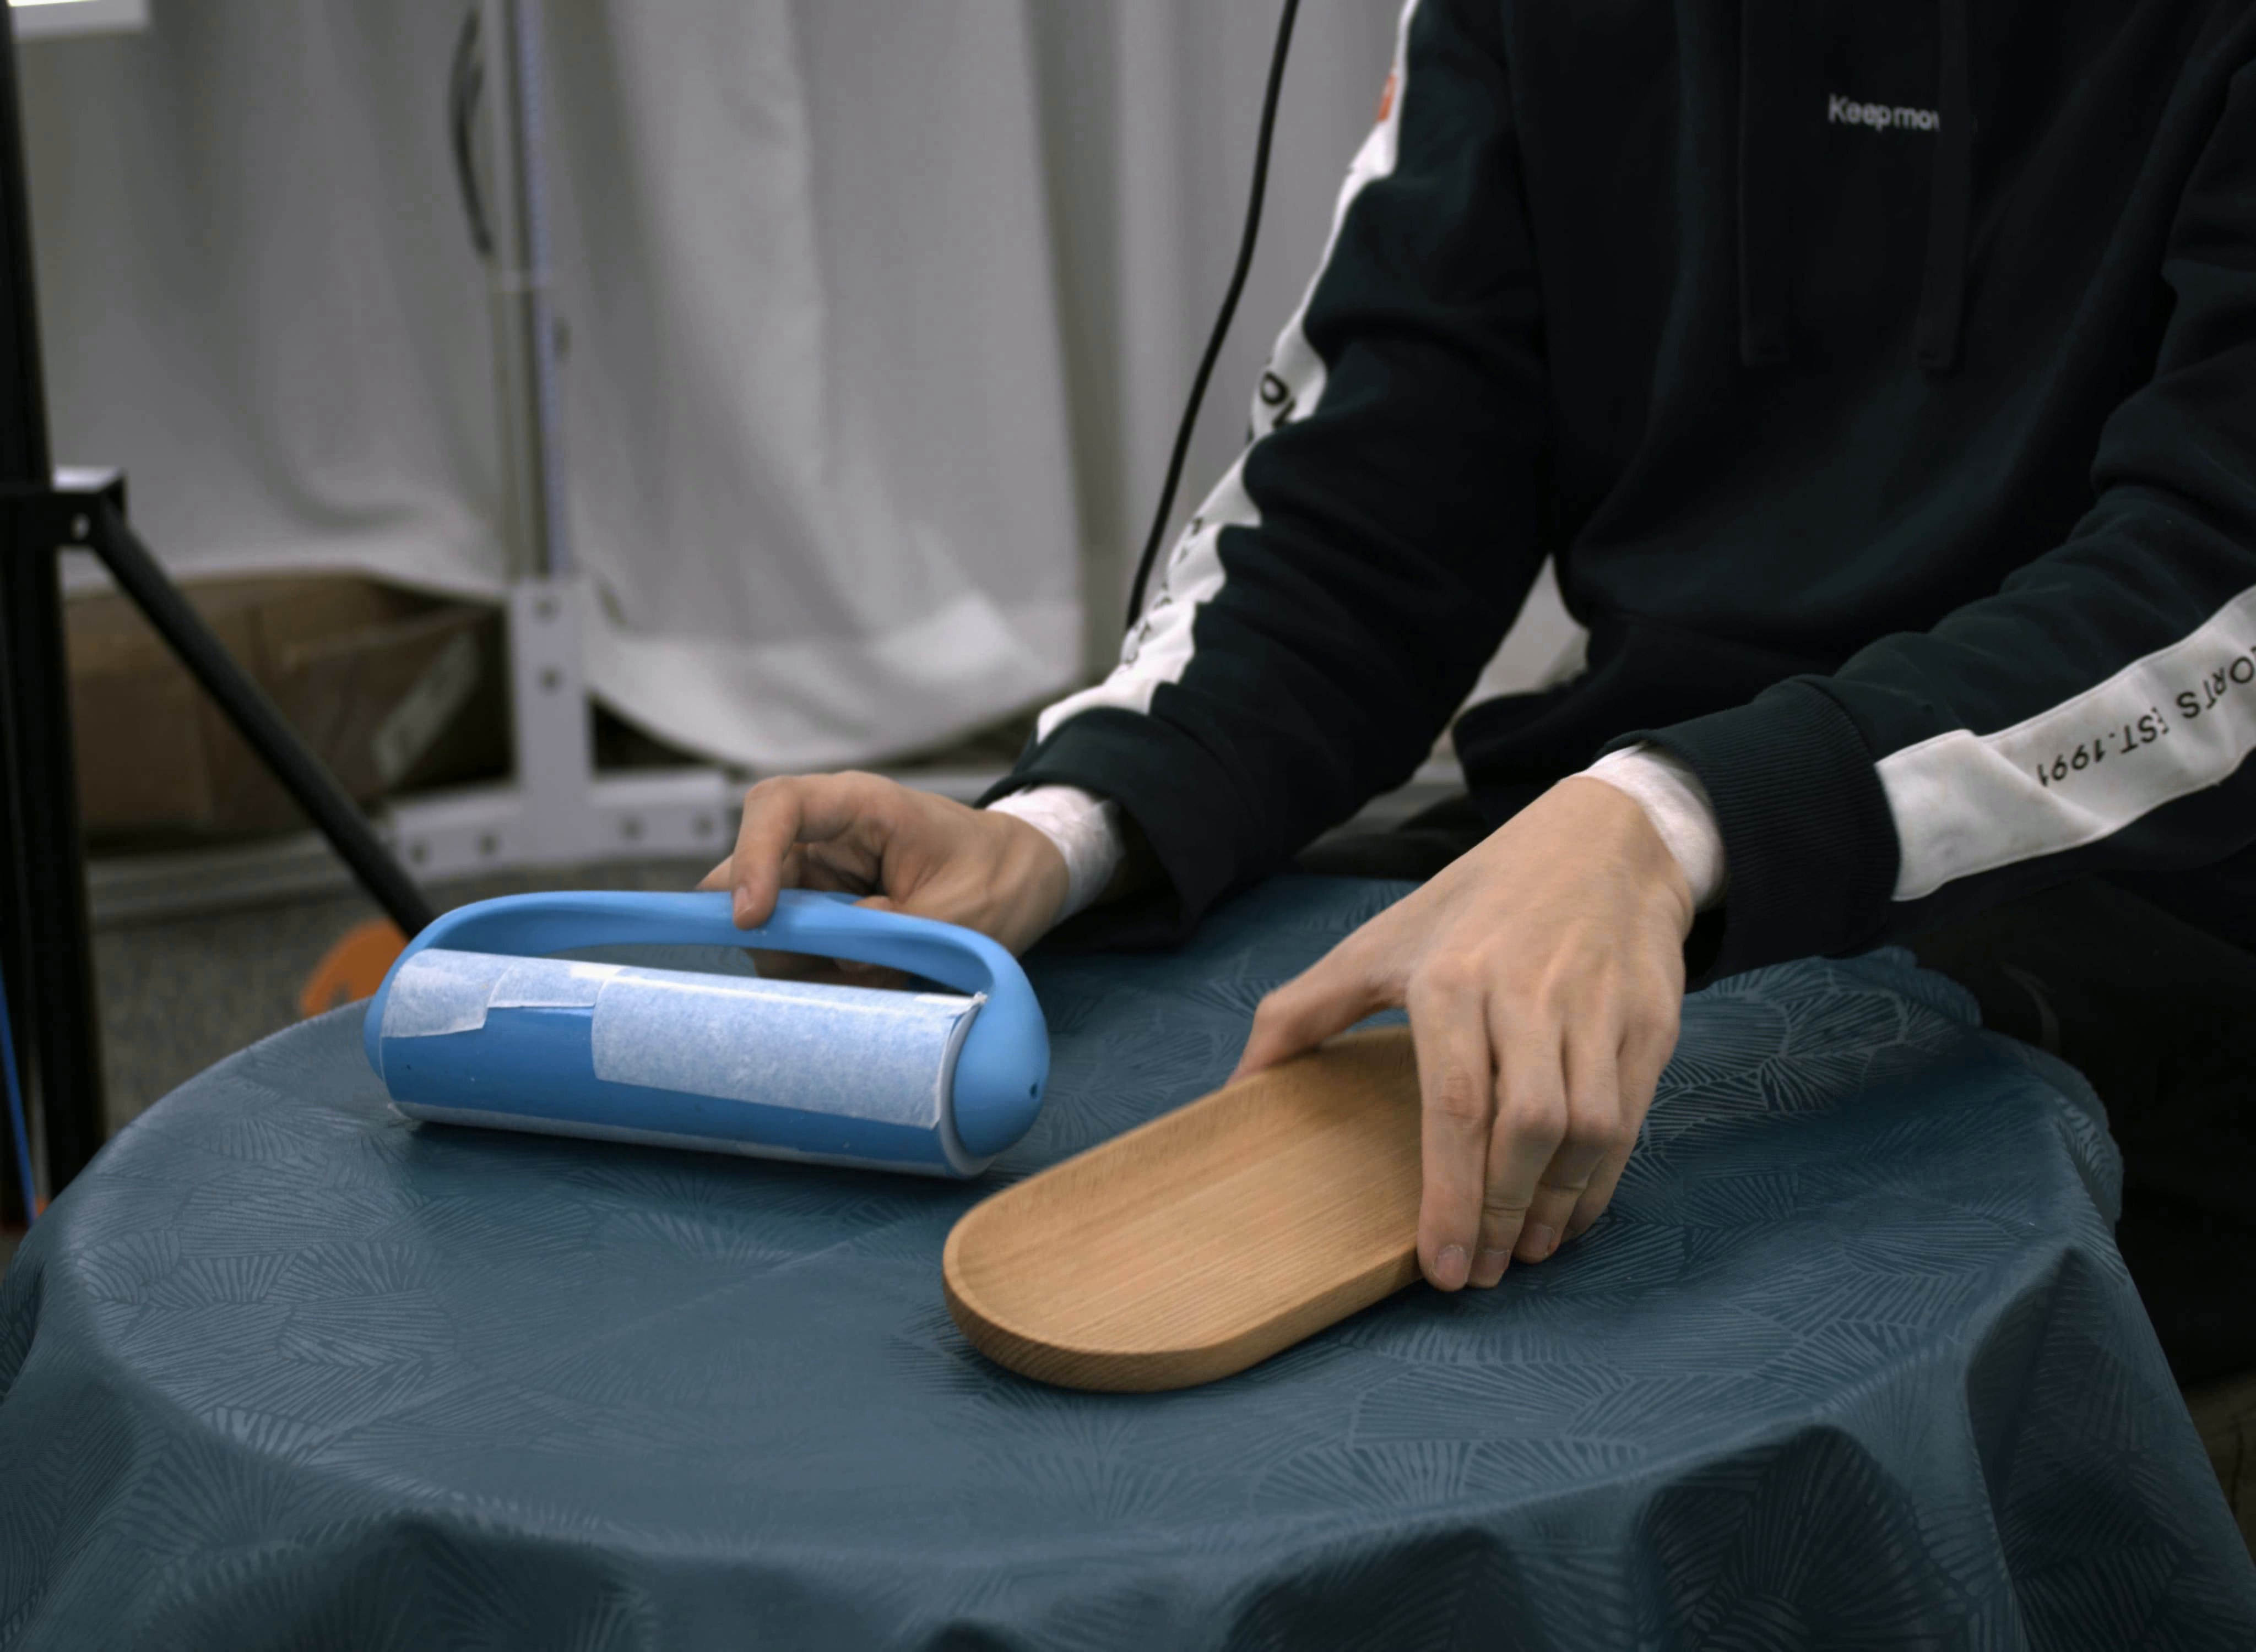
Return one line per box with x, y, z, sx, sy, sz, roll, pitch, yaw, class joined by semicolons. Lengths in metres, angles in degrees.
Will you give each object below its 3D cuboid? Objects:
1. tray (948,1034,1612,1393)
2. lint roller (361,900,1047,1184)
0.046;0.107;1.490;0.104;0.020;0.226;22;30;38;tray
-0.108;0.054;1.656;0.232;0.068;0.178;2;18;24;lint roller
